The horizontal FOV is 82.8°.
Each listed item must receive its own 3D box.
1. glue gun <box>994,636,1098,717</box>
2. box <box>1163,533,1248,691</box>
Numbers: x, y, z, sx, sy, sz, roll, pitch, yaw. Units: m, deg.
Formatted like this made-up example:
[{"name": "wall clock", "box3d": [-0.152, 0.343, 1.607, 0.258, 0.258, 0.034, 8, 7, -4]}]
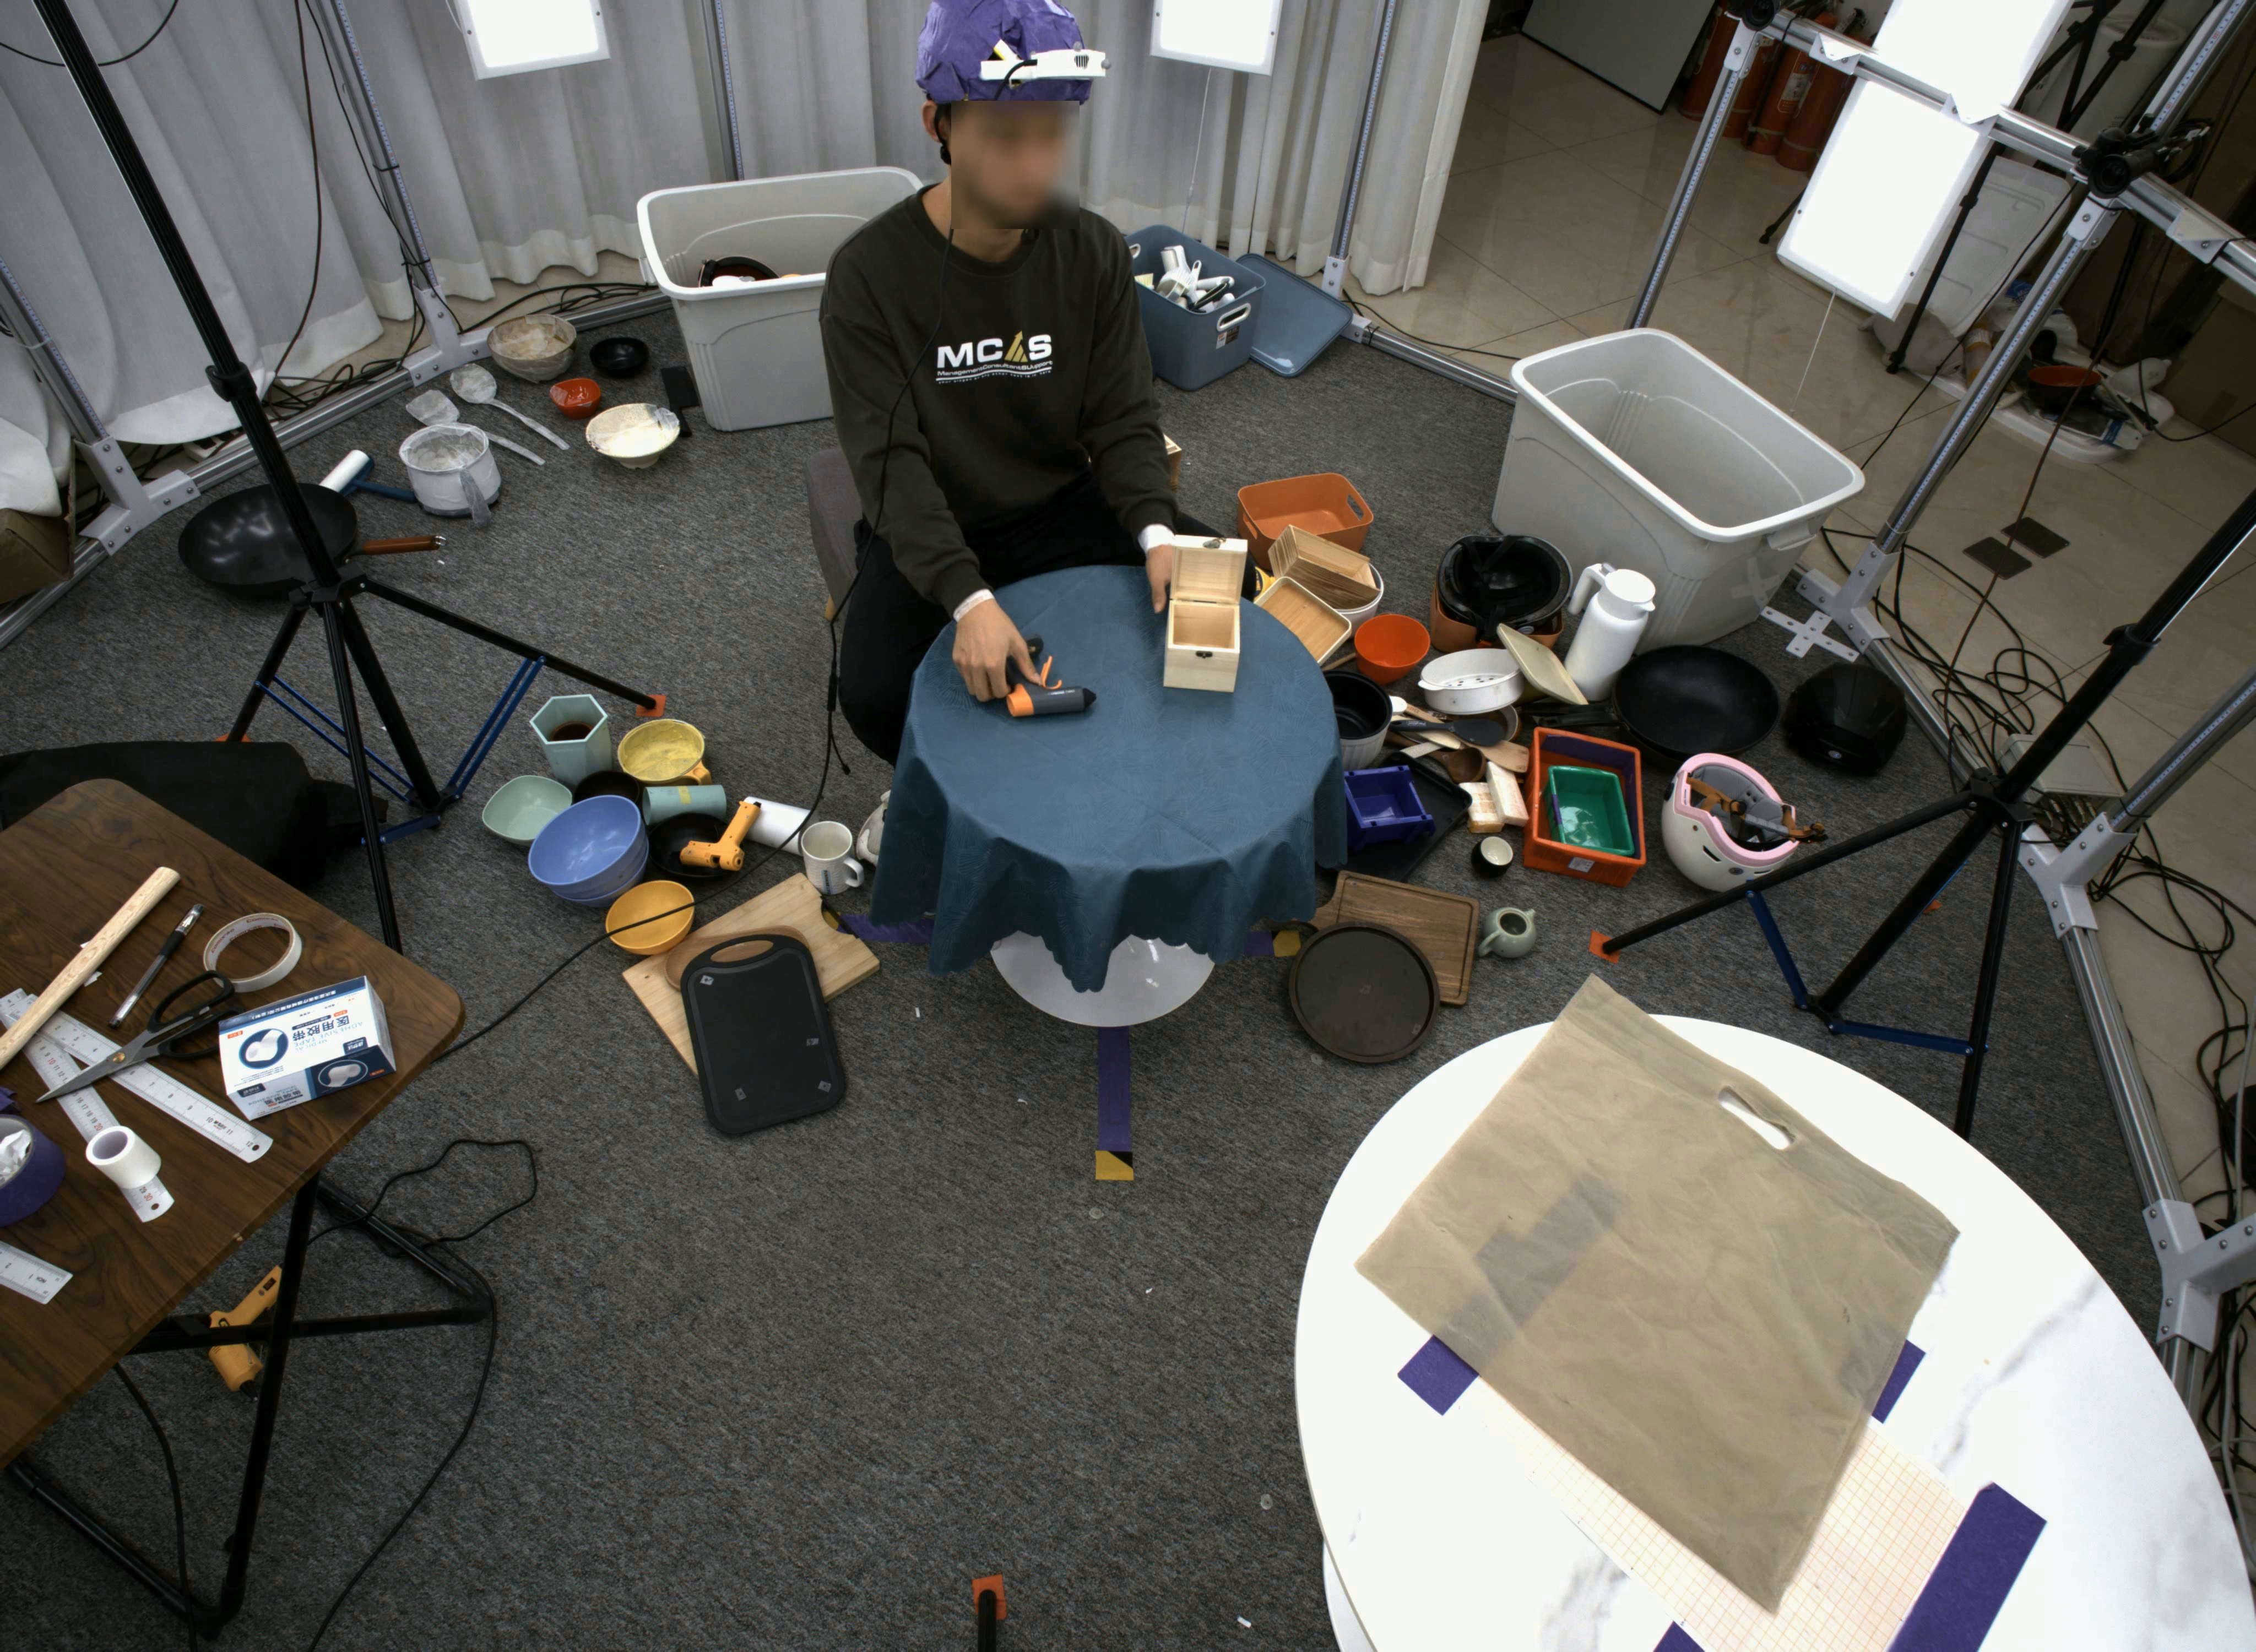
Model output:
[{"name": "glue gun", "box3d": [-0.122, -0.205, 1.810, 0.118, 0.040, 0.143, -18, 54, -21]}, {"name": "box", "box3d": [0.109, -0.299, 1.807, 0.102, 0.180, 0.137, 4, 50, -2]}]
